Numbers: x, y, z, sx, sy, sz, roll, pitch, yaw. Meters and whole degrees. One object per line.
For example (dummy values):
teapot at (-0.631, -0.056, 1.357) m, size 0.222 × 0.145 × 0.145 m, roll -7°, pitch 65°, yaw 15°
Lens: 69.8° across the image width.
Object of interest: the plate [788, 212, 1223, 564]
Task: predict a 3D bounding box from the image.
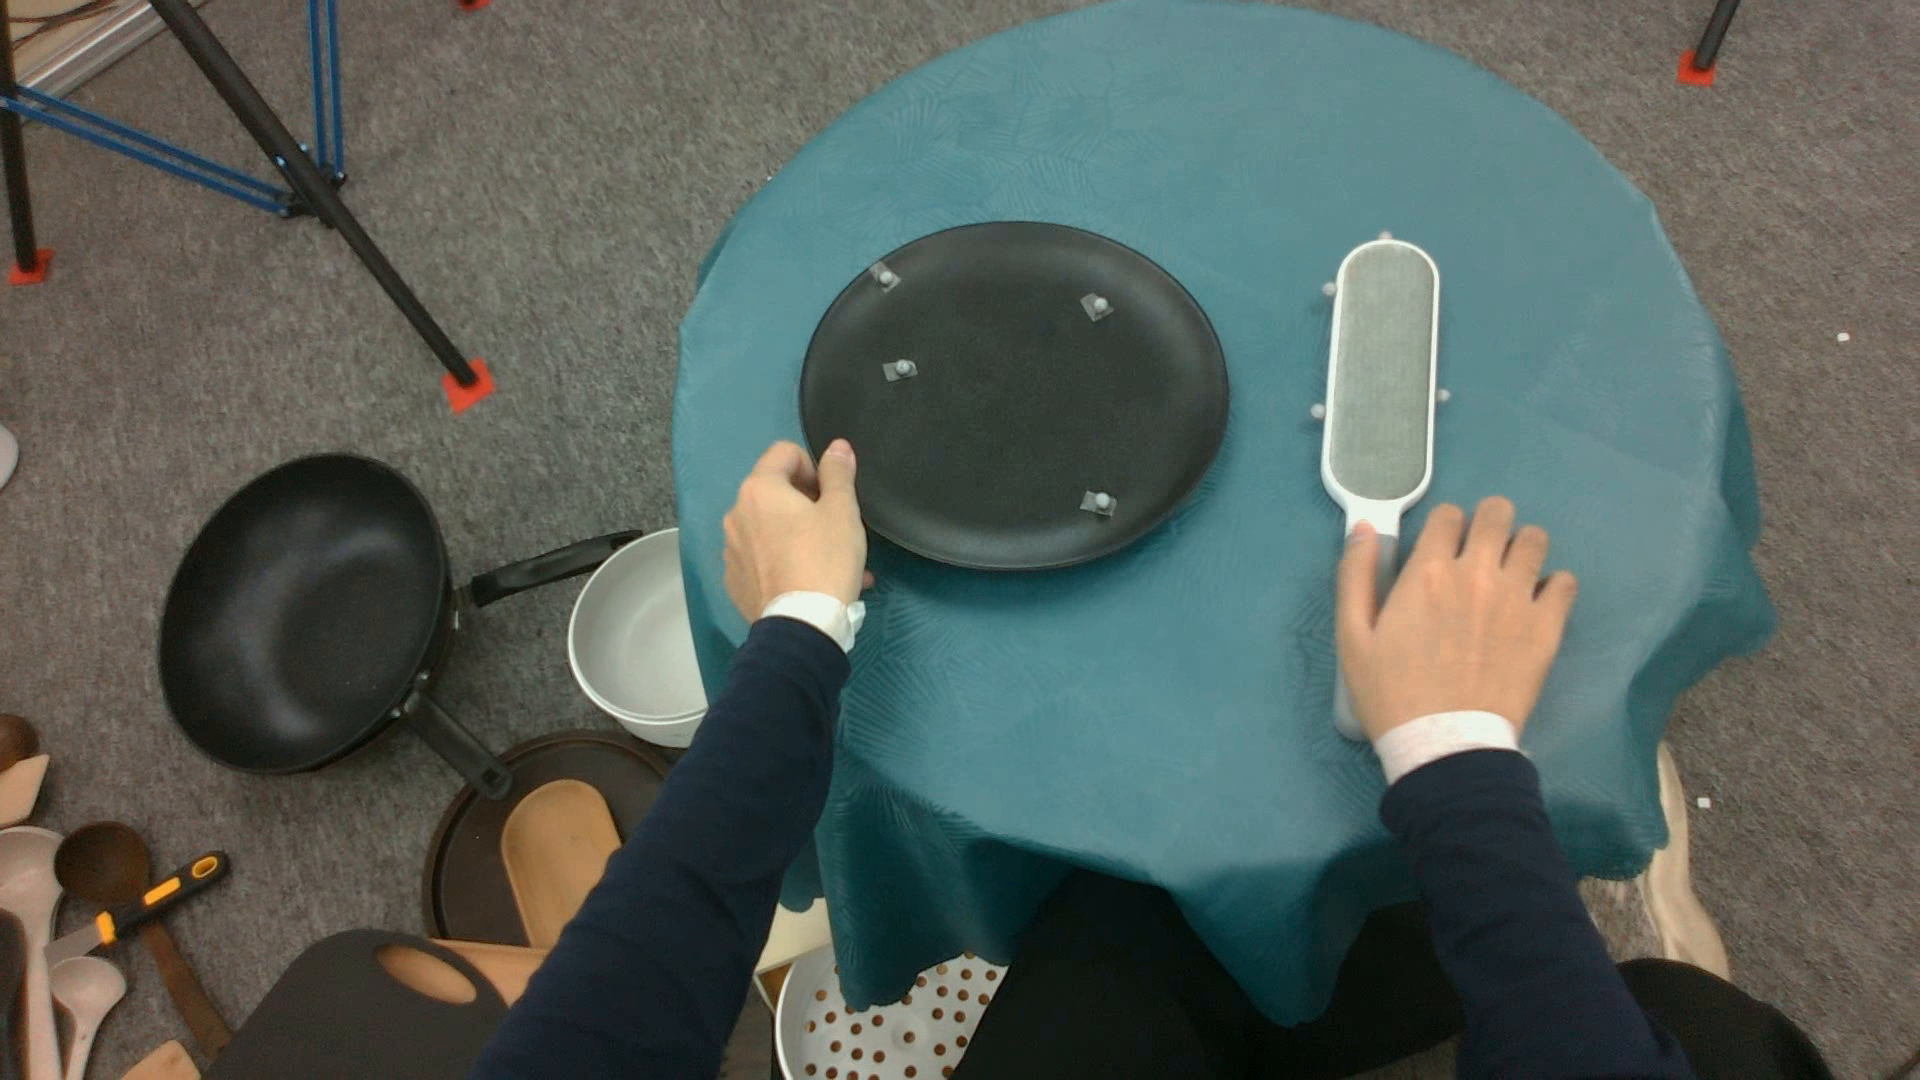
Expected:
plate at (0.025, -0.089, 0.781) m, size 0.244 × 0.023 × 0.245 m, roll 0°, pitch 60°, yaw 1°

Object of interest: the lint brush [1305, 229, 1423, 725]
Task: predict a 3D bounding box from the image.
lint brush at (0.215, -0.046, 0.743) m, size 0.060 × 0.021 × 0.310 m, roll 9°, pitch 63°, yaw 5°
